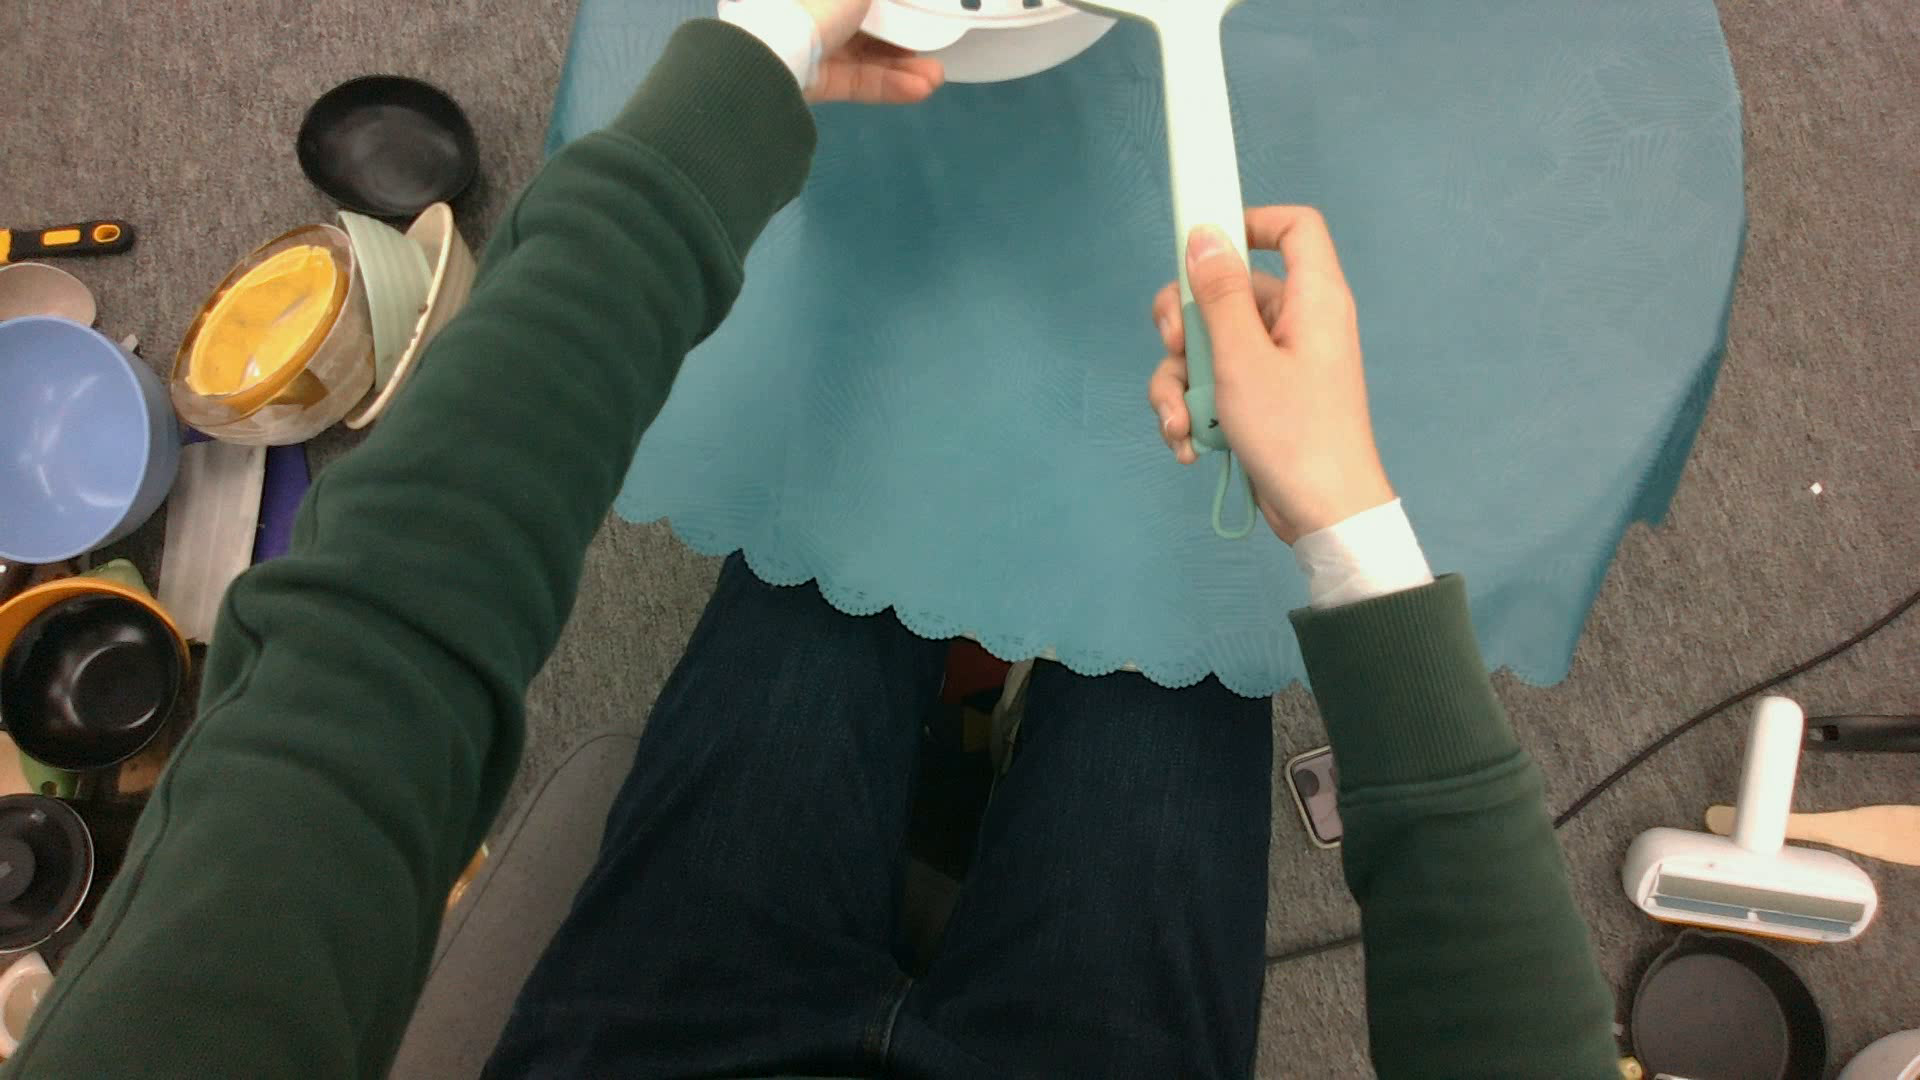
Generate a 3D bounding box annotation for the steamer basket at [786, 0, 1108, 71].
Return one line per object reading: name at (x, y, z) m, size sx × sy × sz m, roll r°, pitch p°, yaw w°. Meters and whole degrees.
steamer basket at (-0.008, -0.314, 0.629) m, size 0.202 × 0.069 × 0.231 m, roll 20°, pitch 77°, yaw -3°

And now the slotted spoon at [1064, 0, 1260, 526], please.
slotted spoon at (0.075, -0.186, 0.514) m, size 0.169 × 0.075 × 0.359 m, roll -6°, pitch 73°, yaw -1°
